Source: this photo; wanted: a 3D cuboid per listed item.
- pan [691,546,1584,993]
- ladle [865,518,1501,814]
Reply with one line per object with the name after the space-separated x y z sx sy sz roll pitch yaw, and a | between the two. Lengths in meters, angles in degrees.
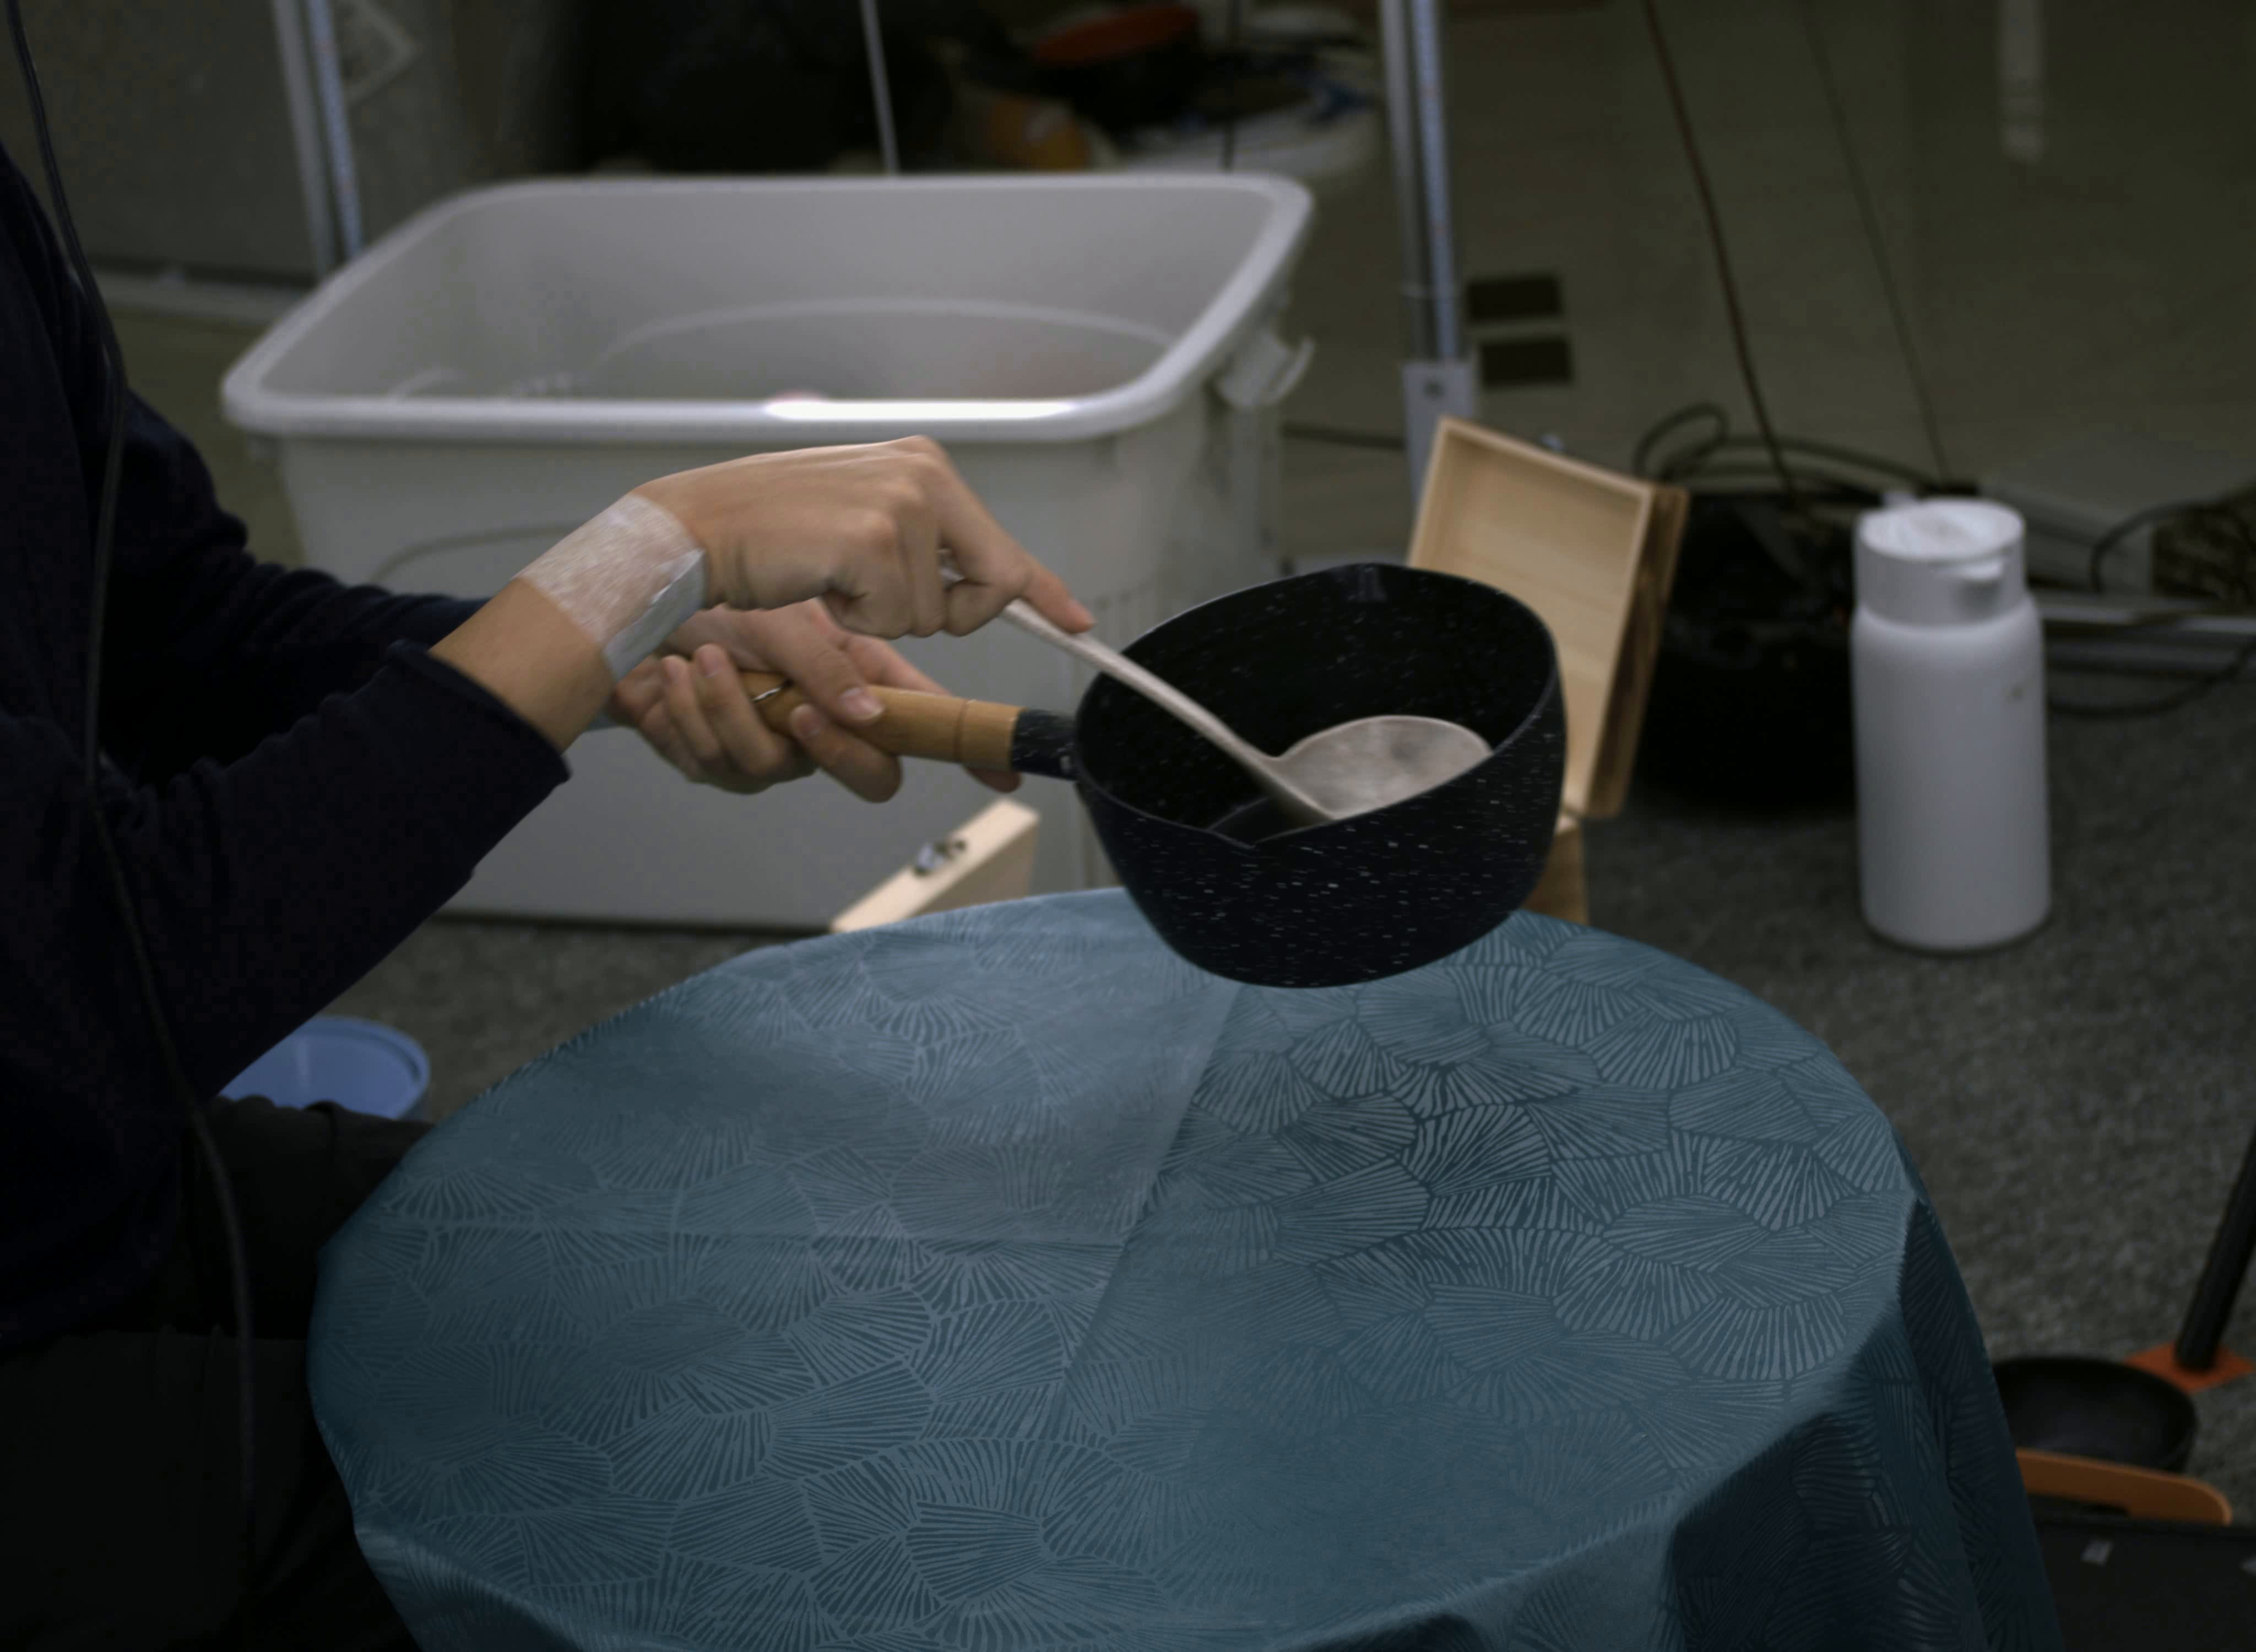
0.003 -0.022 2.131 0.342 0.110 0.204 -1 35 16 | pan
0.025 -0.066 2.067 0.070 0.277 0.088 -47 34 14 | ladle
